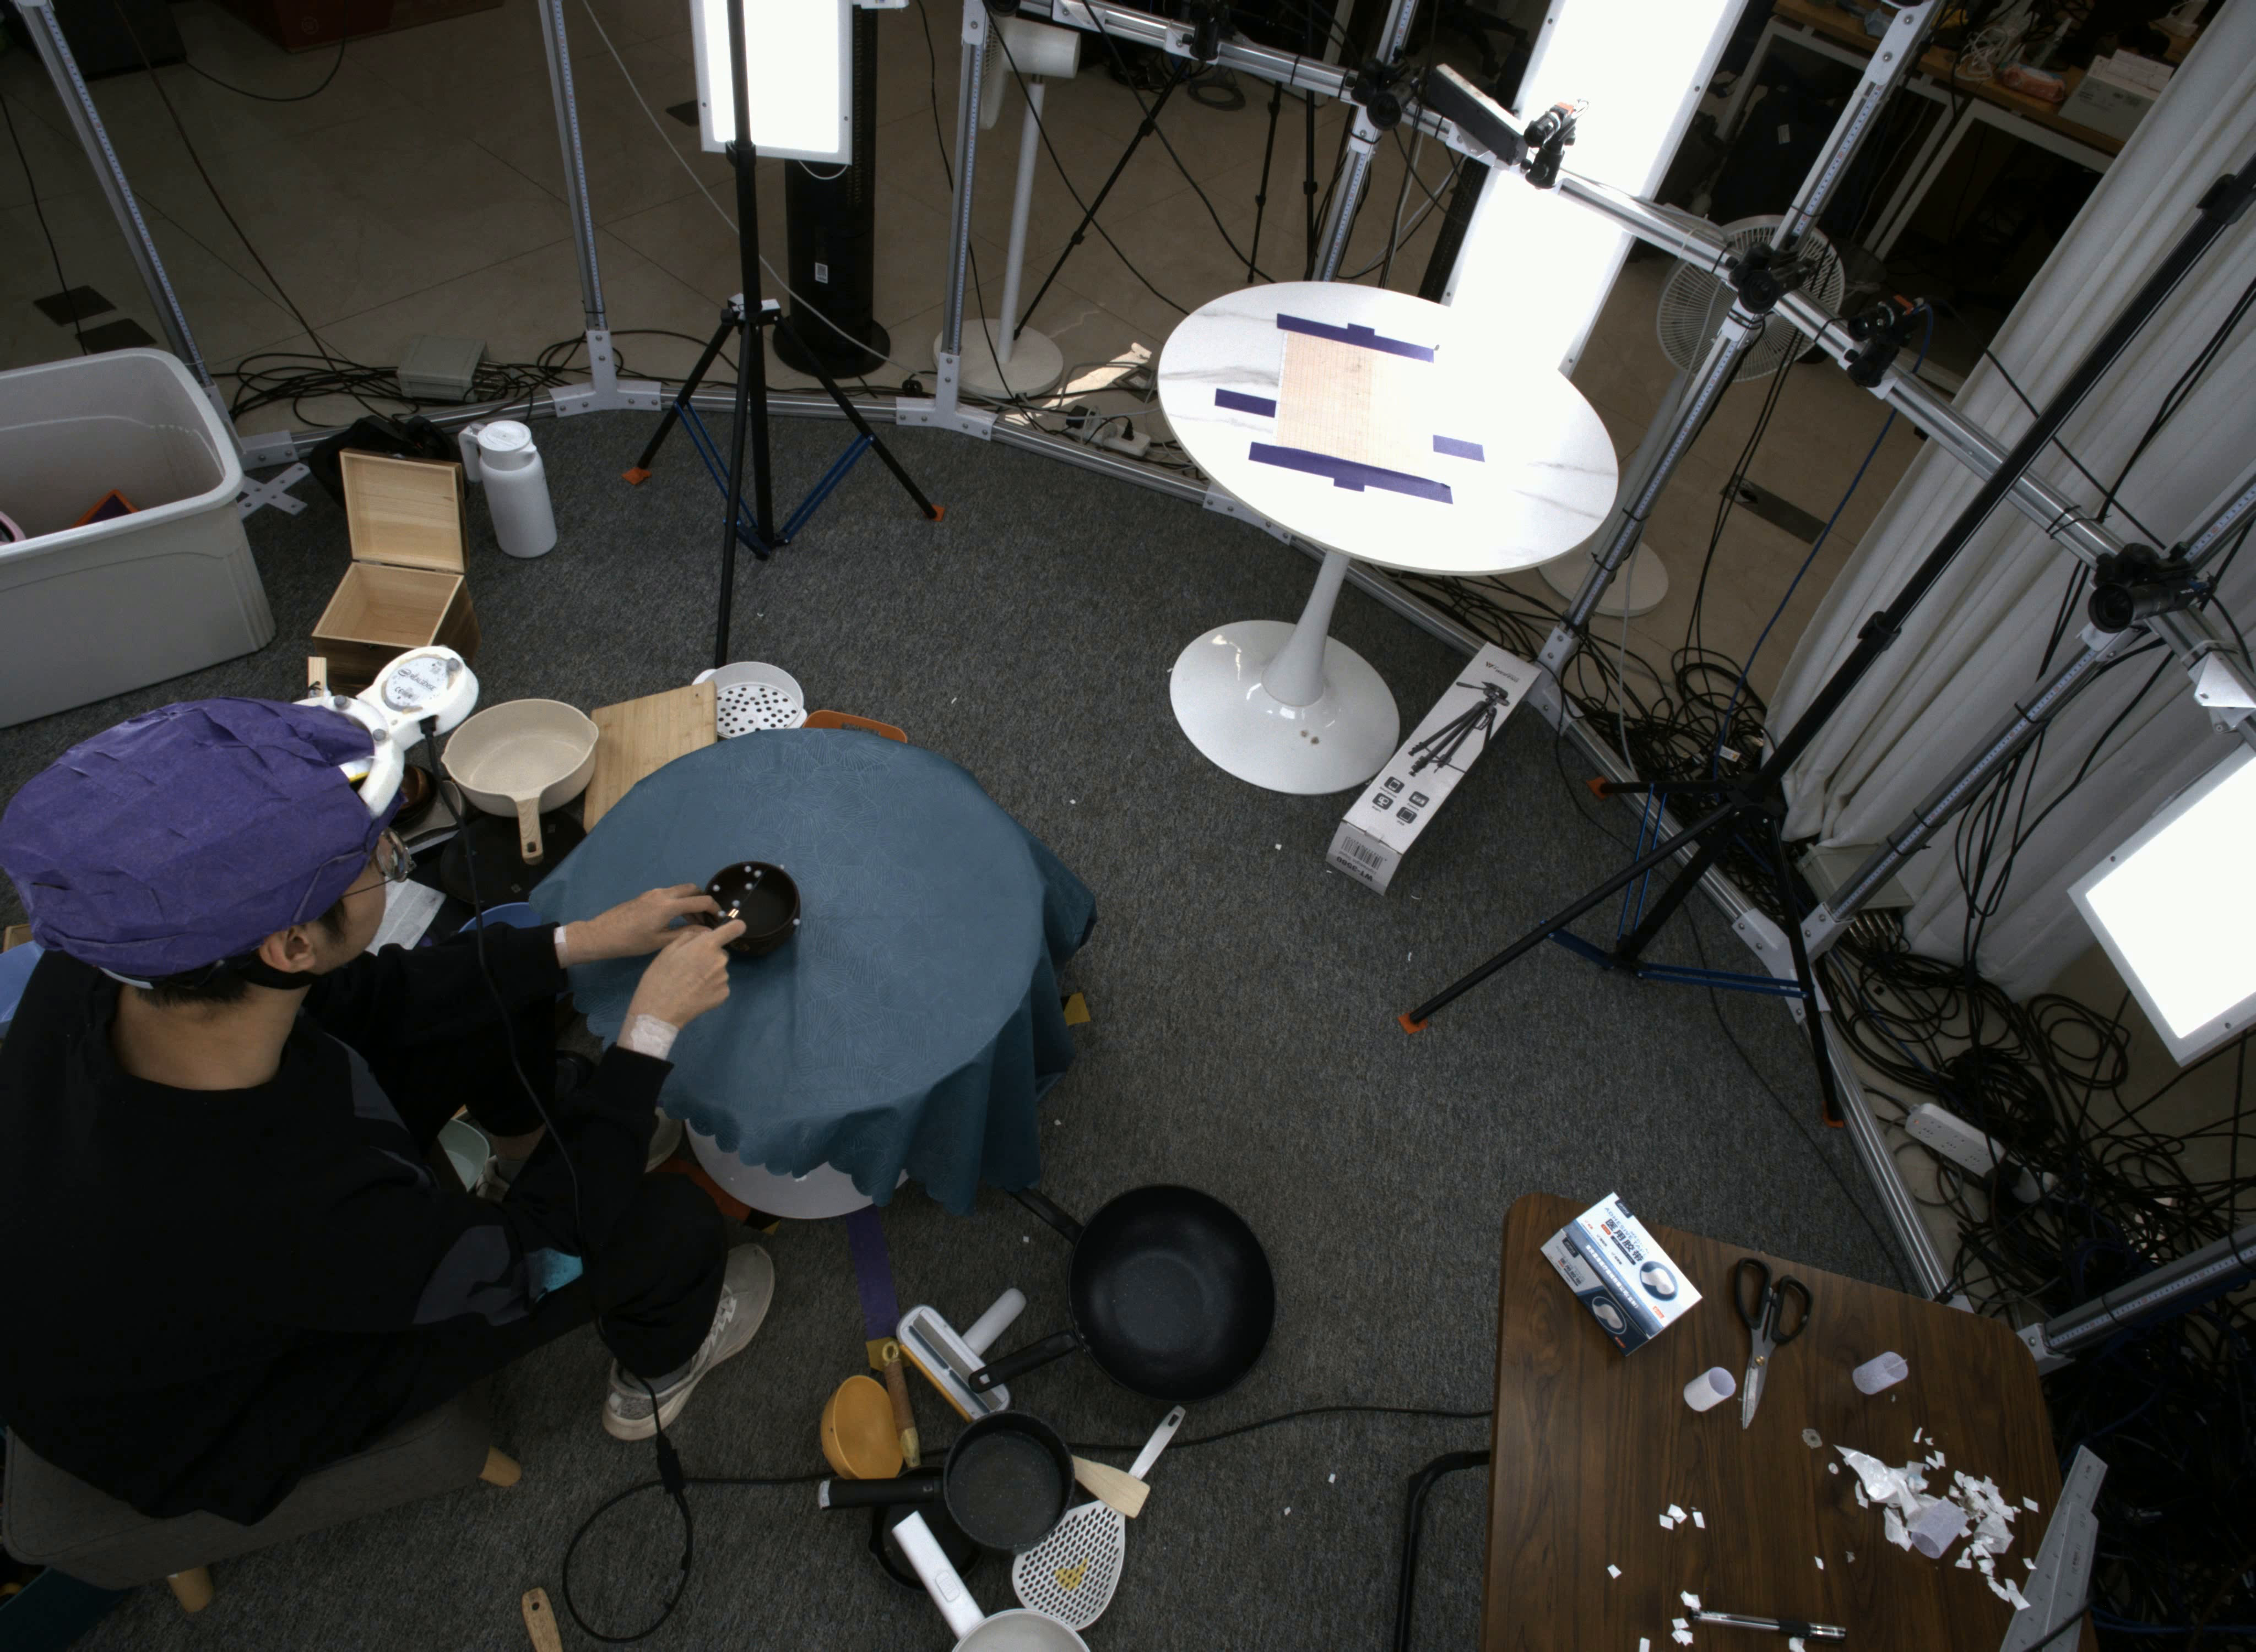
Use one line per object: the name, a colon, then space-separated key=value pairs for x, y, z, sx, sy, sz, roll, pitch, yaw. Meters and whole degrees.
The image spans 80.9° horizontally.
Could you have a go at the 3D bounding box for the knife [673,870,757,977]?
knife: x=-0.453 y=0.100 z=1.437 sx=0.026 sy=0.018 sz=0.222 roll=-18 pitch=23 yaw=18

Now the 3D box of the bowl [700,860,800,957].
bowl: x=-0.458 y=0.106 z=1.576 sx=0.117 sy=0.071 sz=0.116 roll=6 pitch=52 yaw=-6
